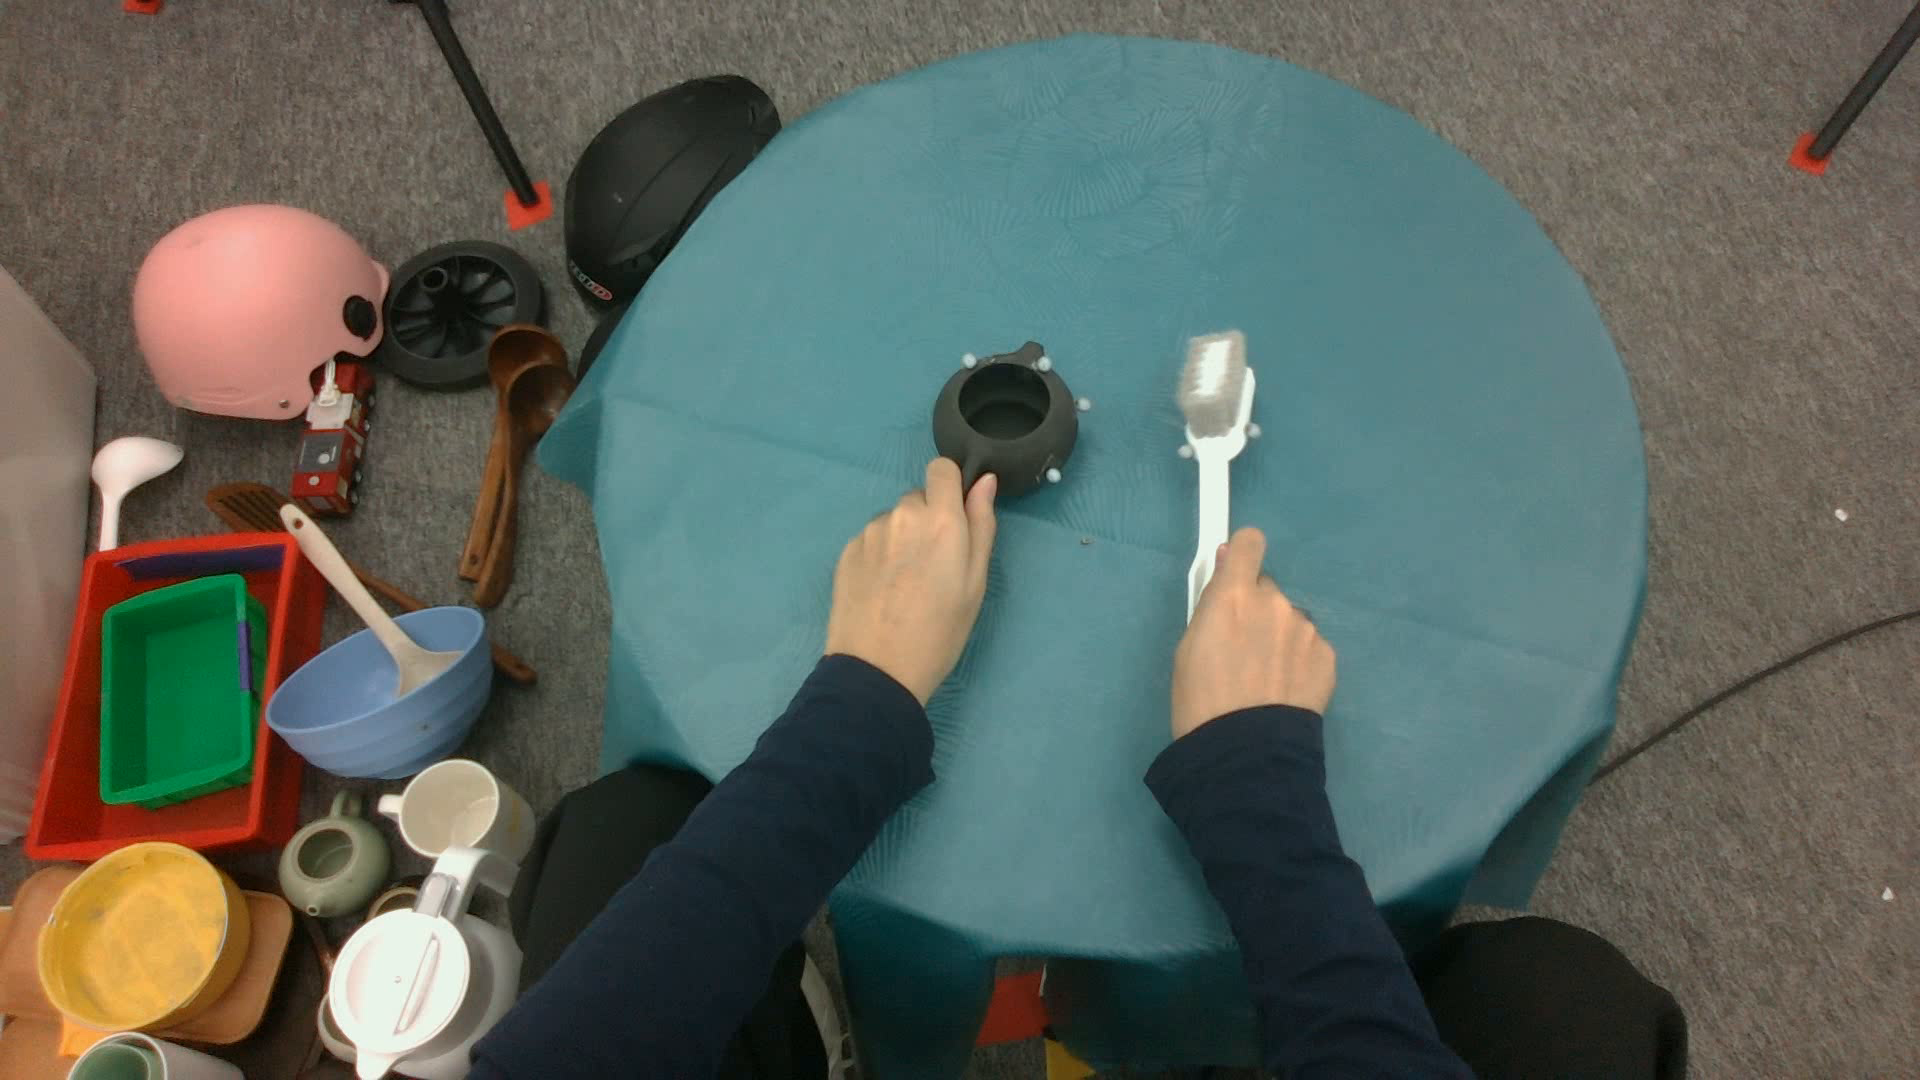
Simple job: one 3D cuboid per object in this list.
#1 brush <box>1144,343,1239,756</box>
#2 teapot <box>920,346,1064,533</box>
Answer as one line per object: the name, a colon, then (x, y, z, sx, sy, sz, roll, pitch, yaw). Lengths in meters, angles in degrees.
brush: (0.123, -0.005, 0.745, 0.034, 0.050, 0.244, 2, 61, 19)
teapot: (0.013, -0.055, 0.781, 0.083, 0.053, 0.114, 23, 67, 12)
